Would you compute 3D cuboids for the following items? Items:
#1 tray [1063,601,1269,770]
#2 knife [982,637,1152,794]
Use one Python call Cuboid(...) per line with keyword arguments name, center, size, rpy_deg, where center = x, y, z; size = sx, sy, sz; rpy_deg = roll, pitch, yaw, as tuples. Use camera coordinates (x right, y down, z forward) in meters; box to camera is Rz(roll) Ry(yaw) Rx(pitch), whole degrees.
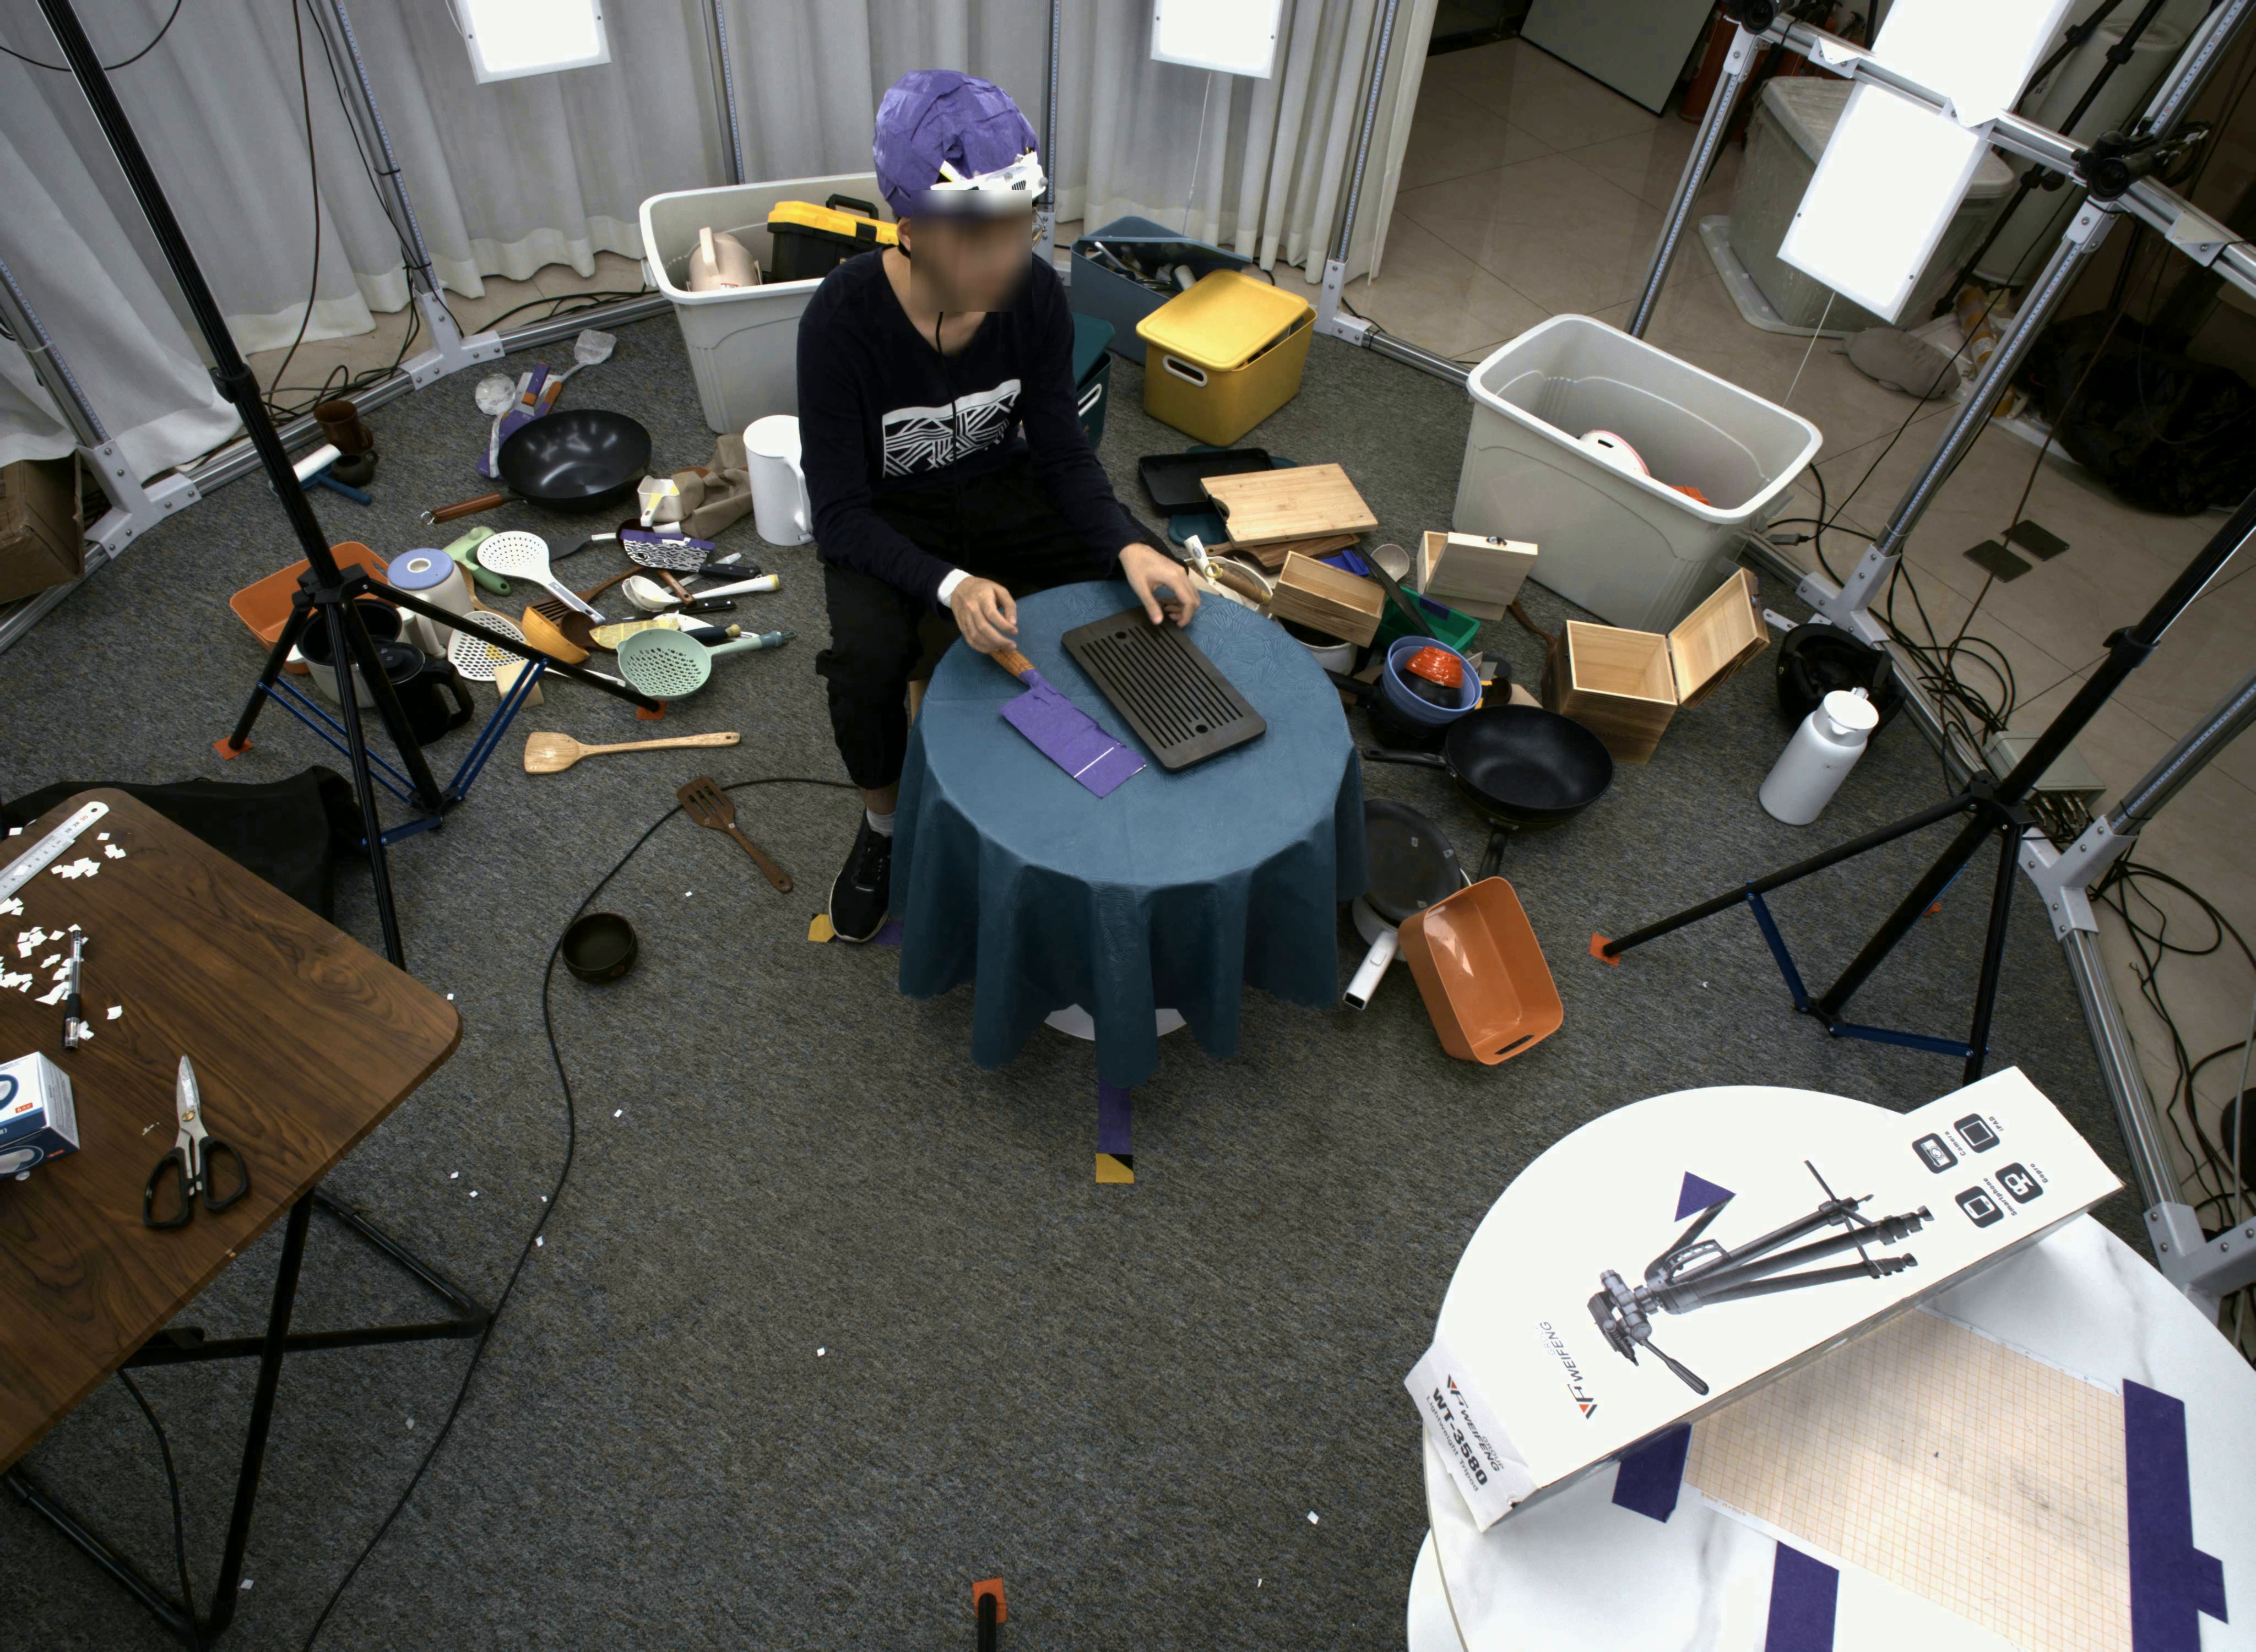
Cuboid(name="tray", center=(0.051, -0.206, 1.837), size=(0.170, 0.018, 0.312), rpy_deg=(-23, 54, -22))
Cuboid(name="knife", center=(-0.111, -0.157, 1.778), size=(0.105, 0.031, 0.320), rpy_deg=(-35, 60, -30))
